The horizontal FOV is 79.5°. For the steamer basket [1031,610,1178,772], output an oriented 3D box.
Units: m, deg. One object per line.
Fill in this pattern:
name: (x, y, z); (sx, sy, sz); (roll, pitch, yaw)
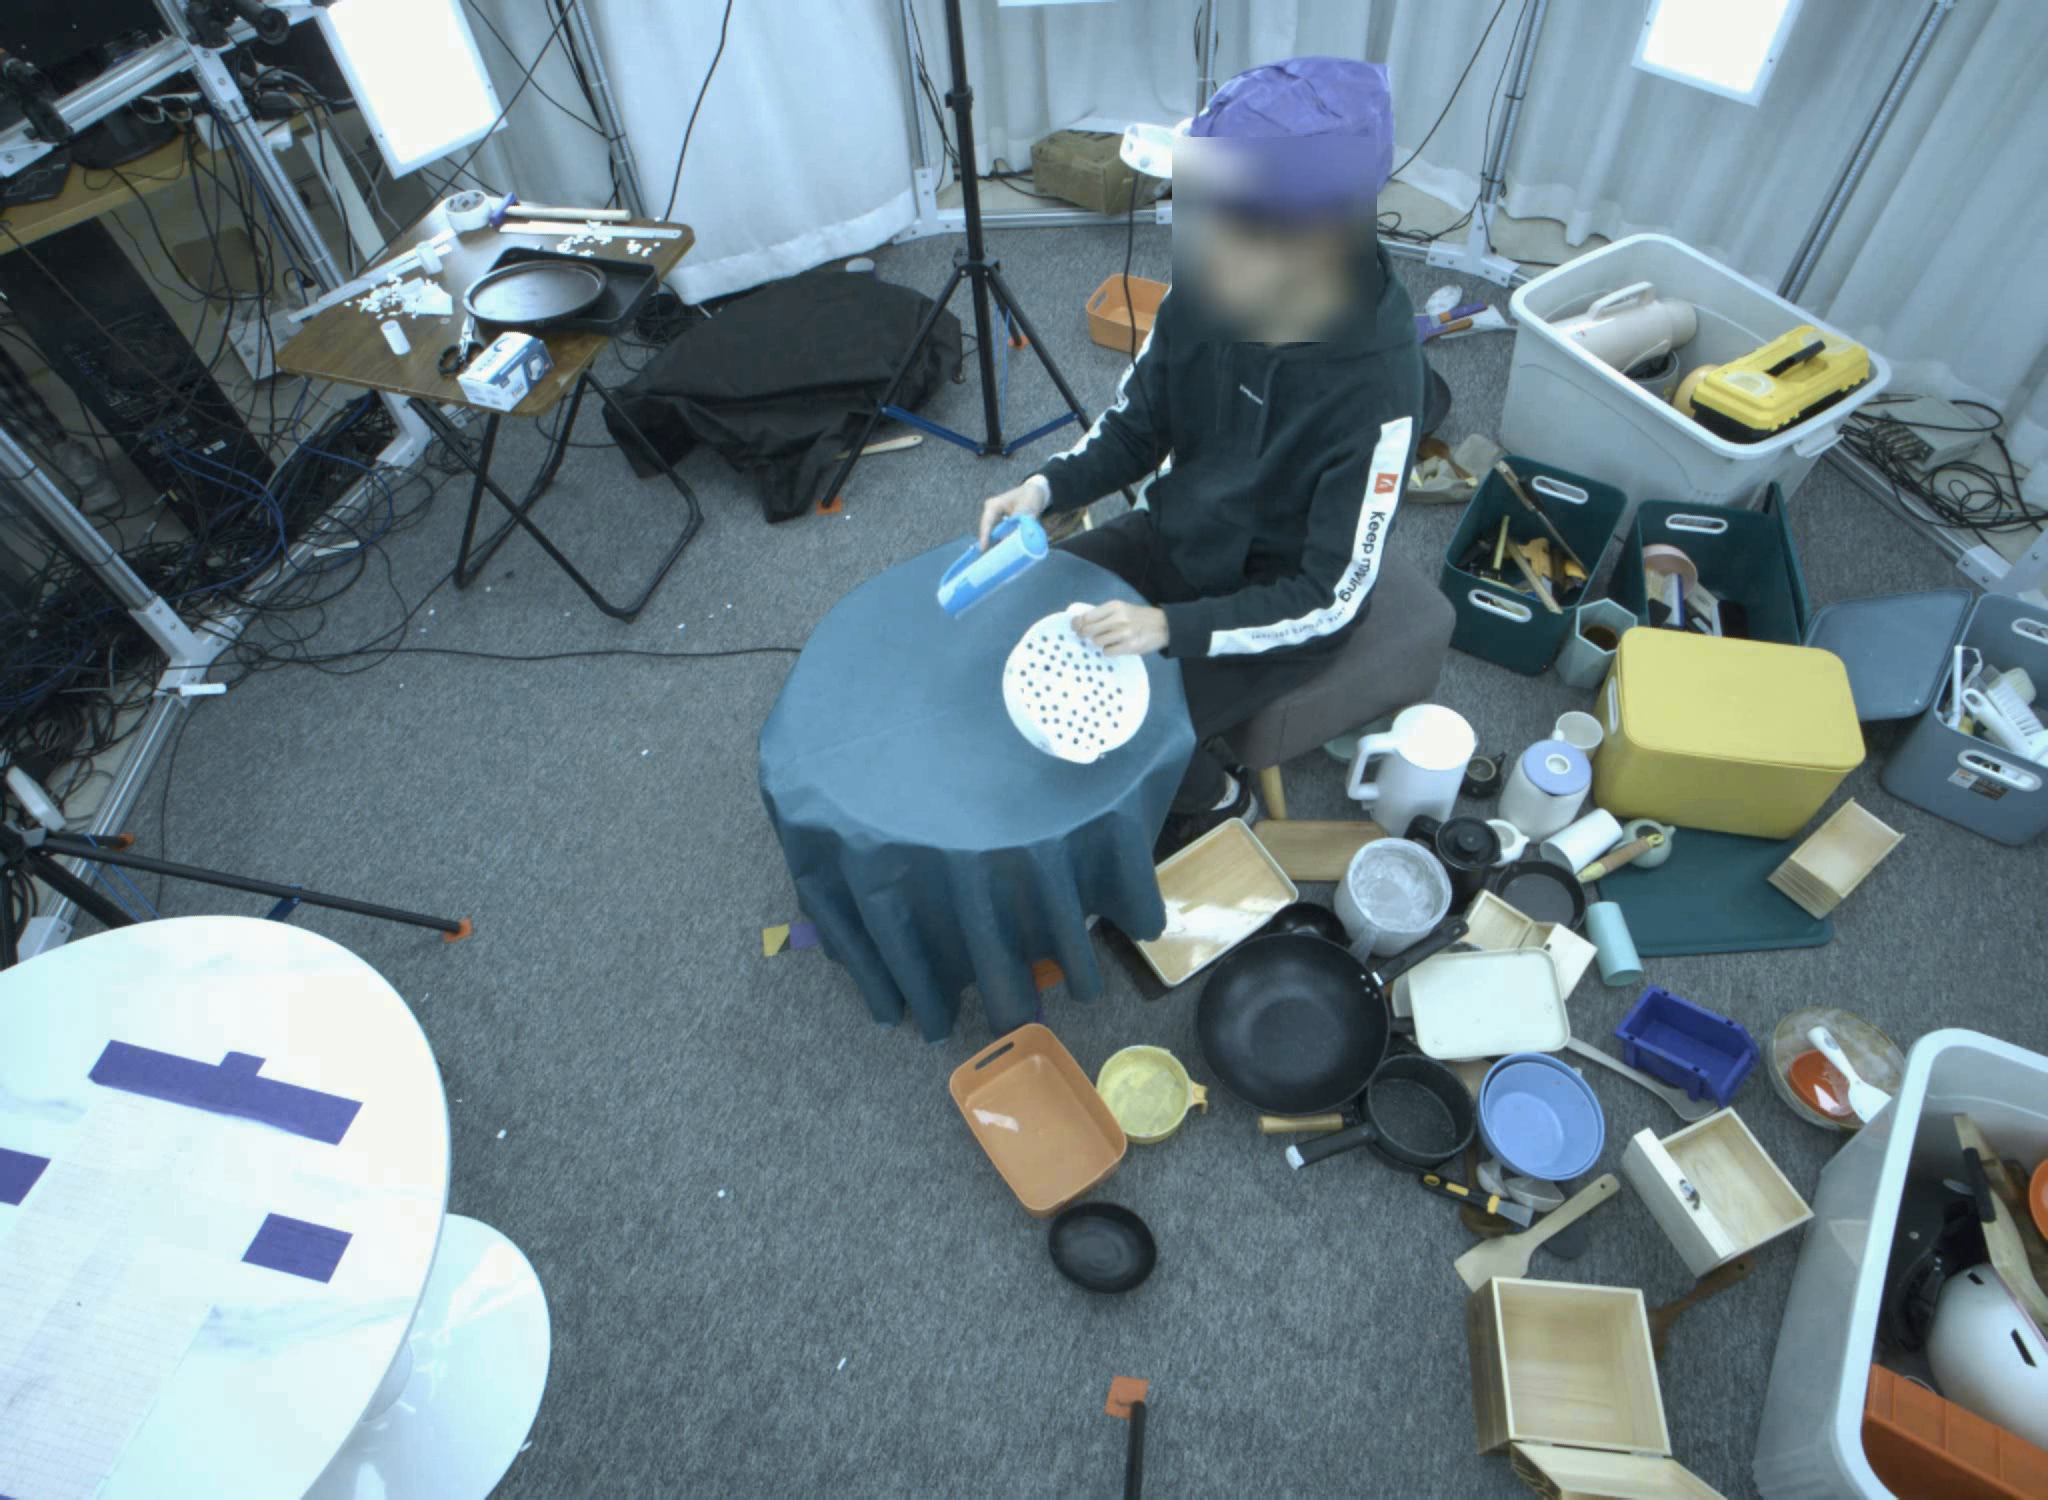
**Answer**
steamer basket: (0.109, -0.075, 1.677); (0.205, 0.068, 0.229); (16, 69, -22)

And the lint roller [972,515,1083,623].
lint roller: (0.019, -0.287, 1.765); (0.069, 0.226, 0.180); (39, 45, -17)
